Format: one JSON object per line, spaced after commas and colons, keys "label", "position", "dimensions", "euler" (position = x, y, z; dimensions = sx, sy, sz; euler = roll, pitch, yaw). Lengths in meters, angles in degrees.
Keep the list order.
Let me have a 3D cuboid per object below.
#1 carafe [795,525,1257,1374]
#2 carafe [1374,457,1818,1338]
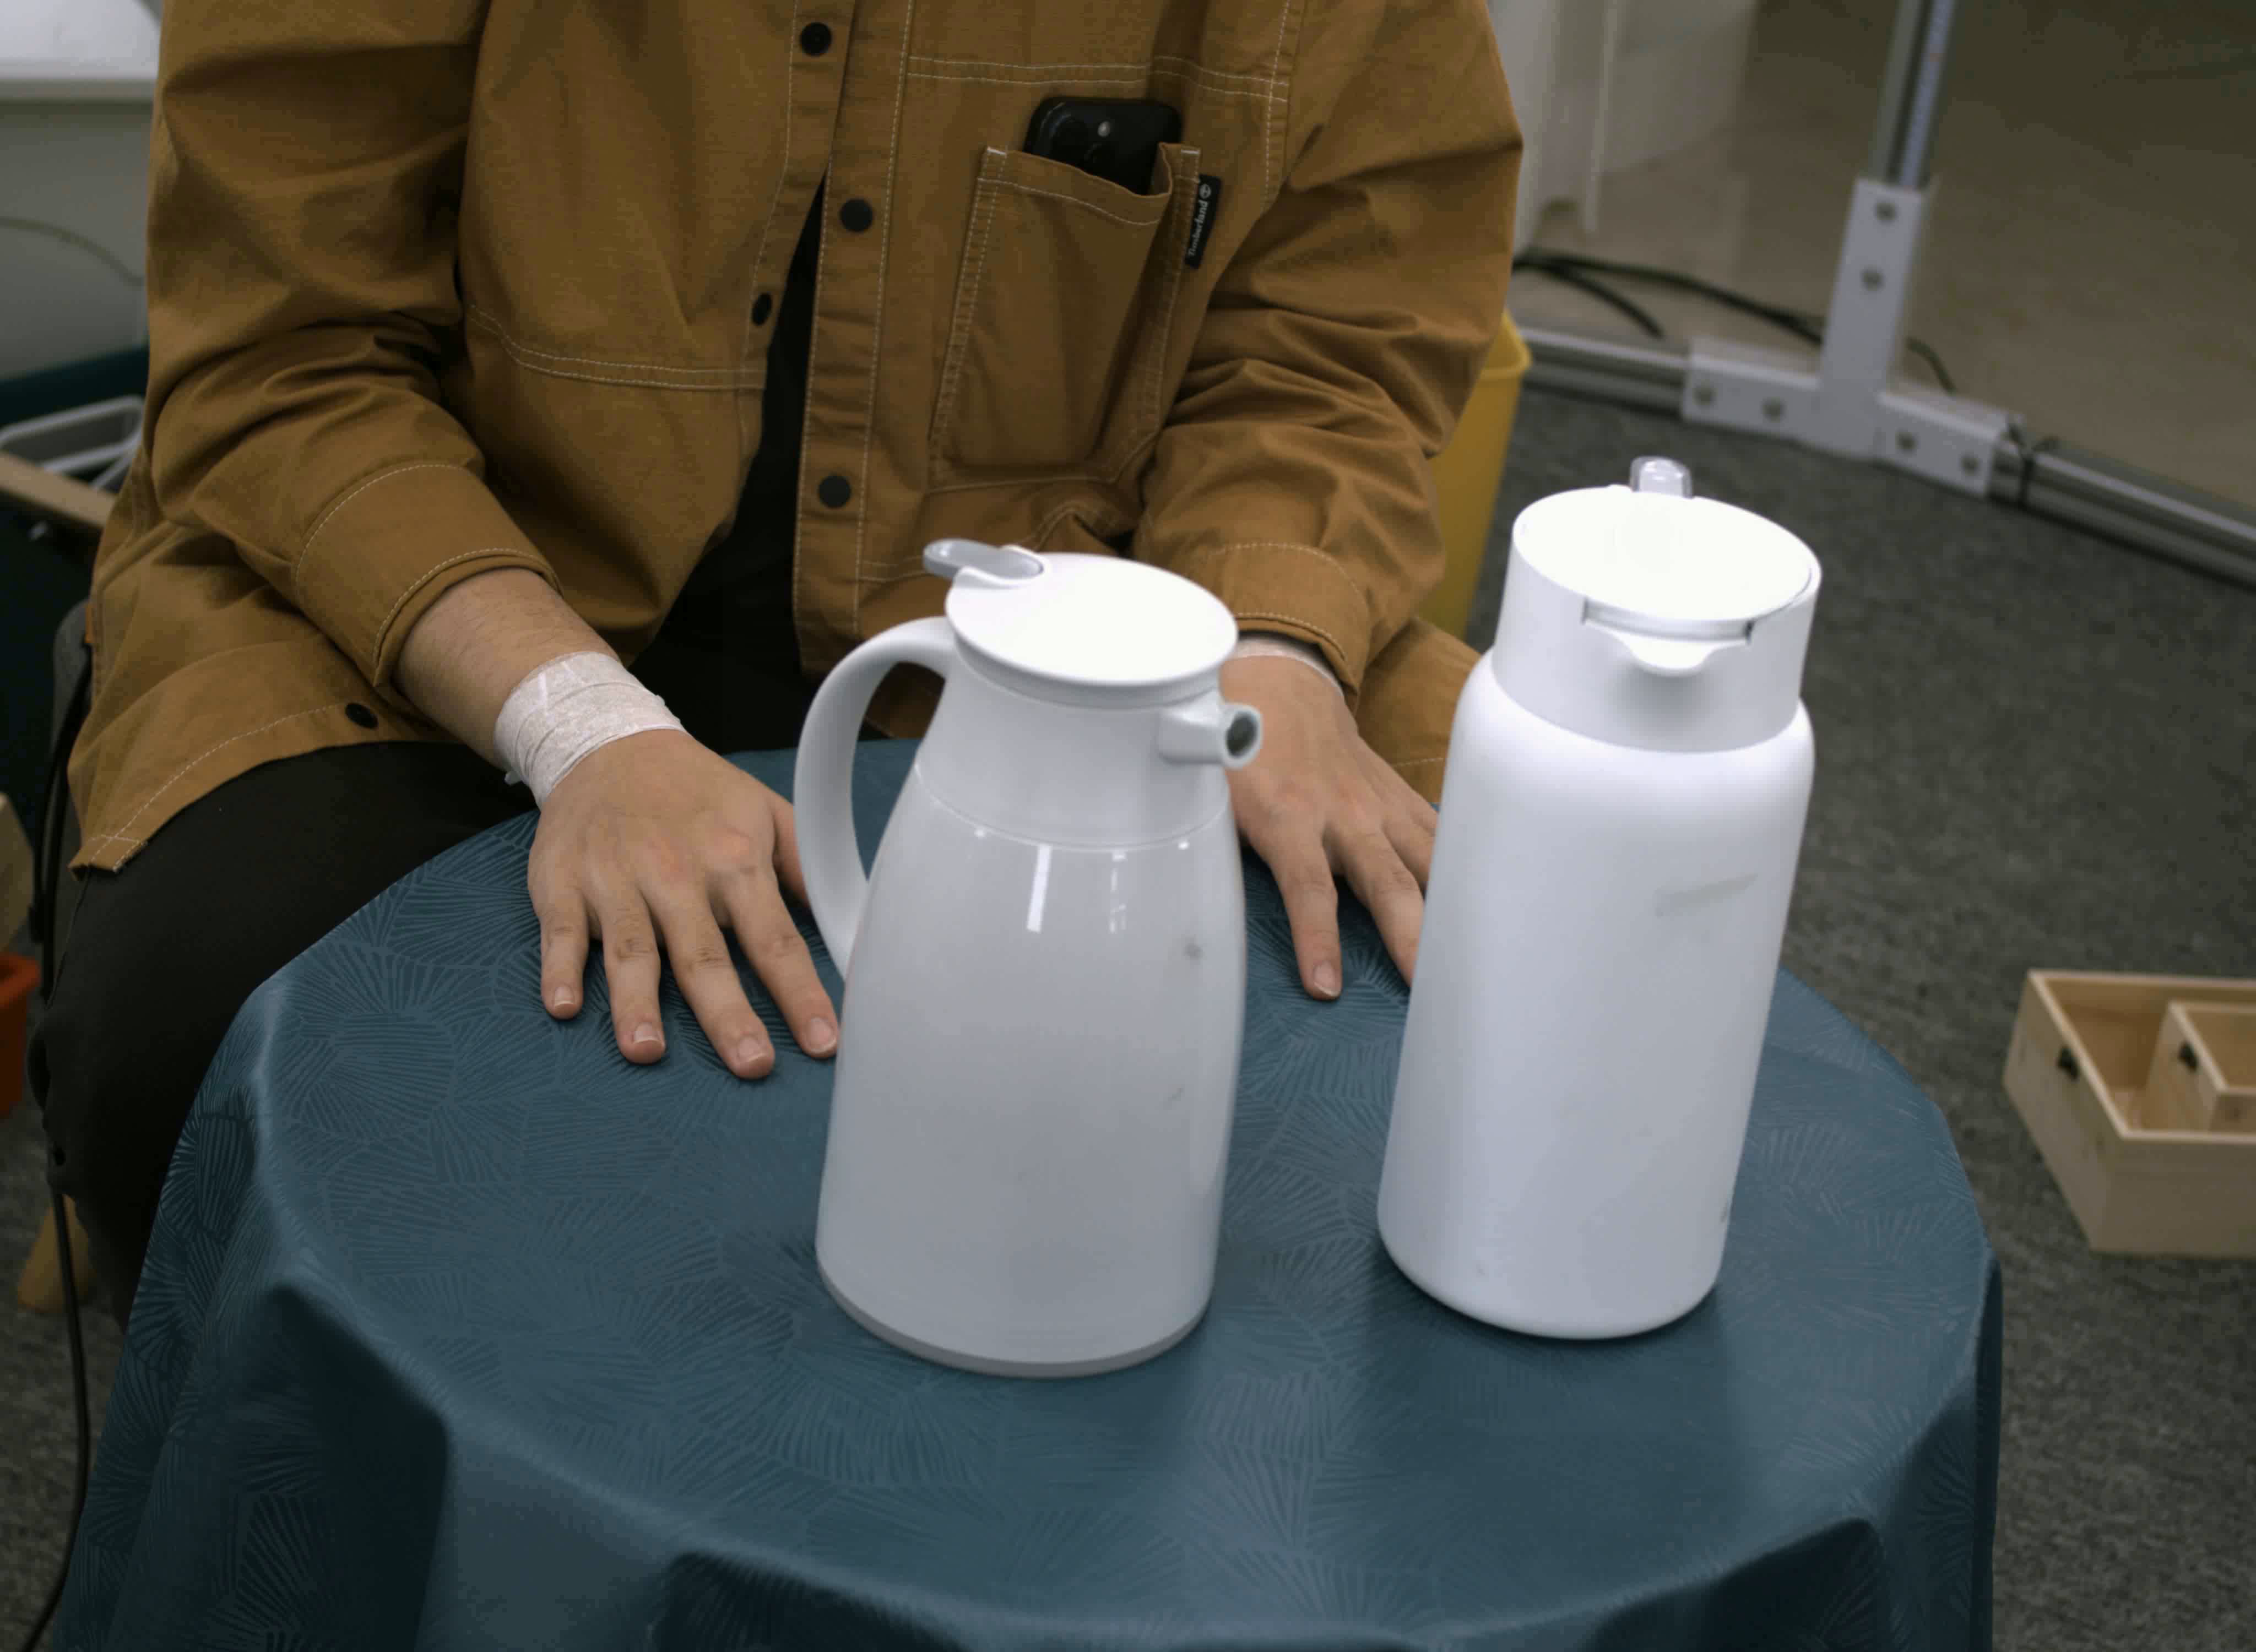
{"label": "carafe", "position": [-0.040, 0.029, 1.706], "dimensions": [0.169, 0.248, 0.132], "euler": [23, 30, 32]}
{"label": "carafe", "position": [0.154, 0.020, 1.750], "dimensions": [0.123, 0.268, 0.174], "euler": [5, 26, 0]}
